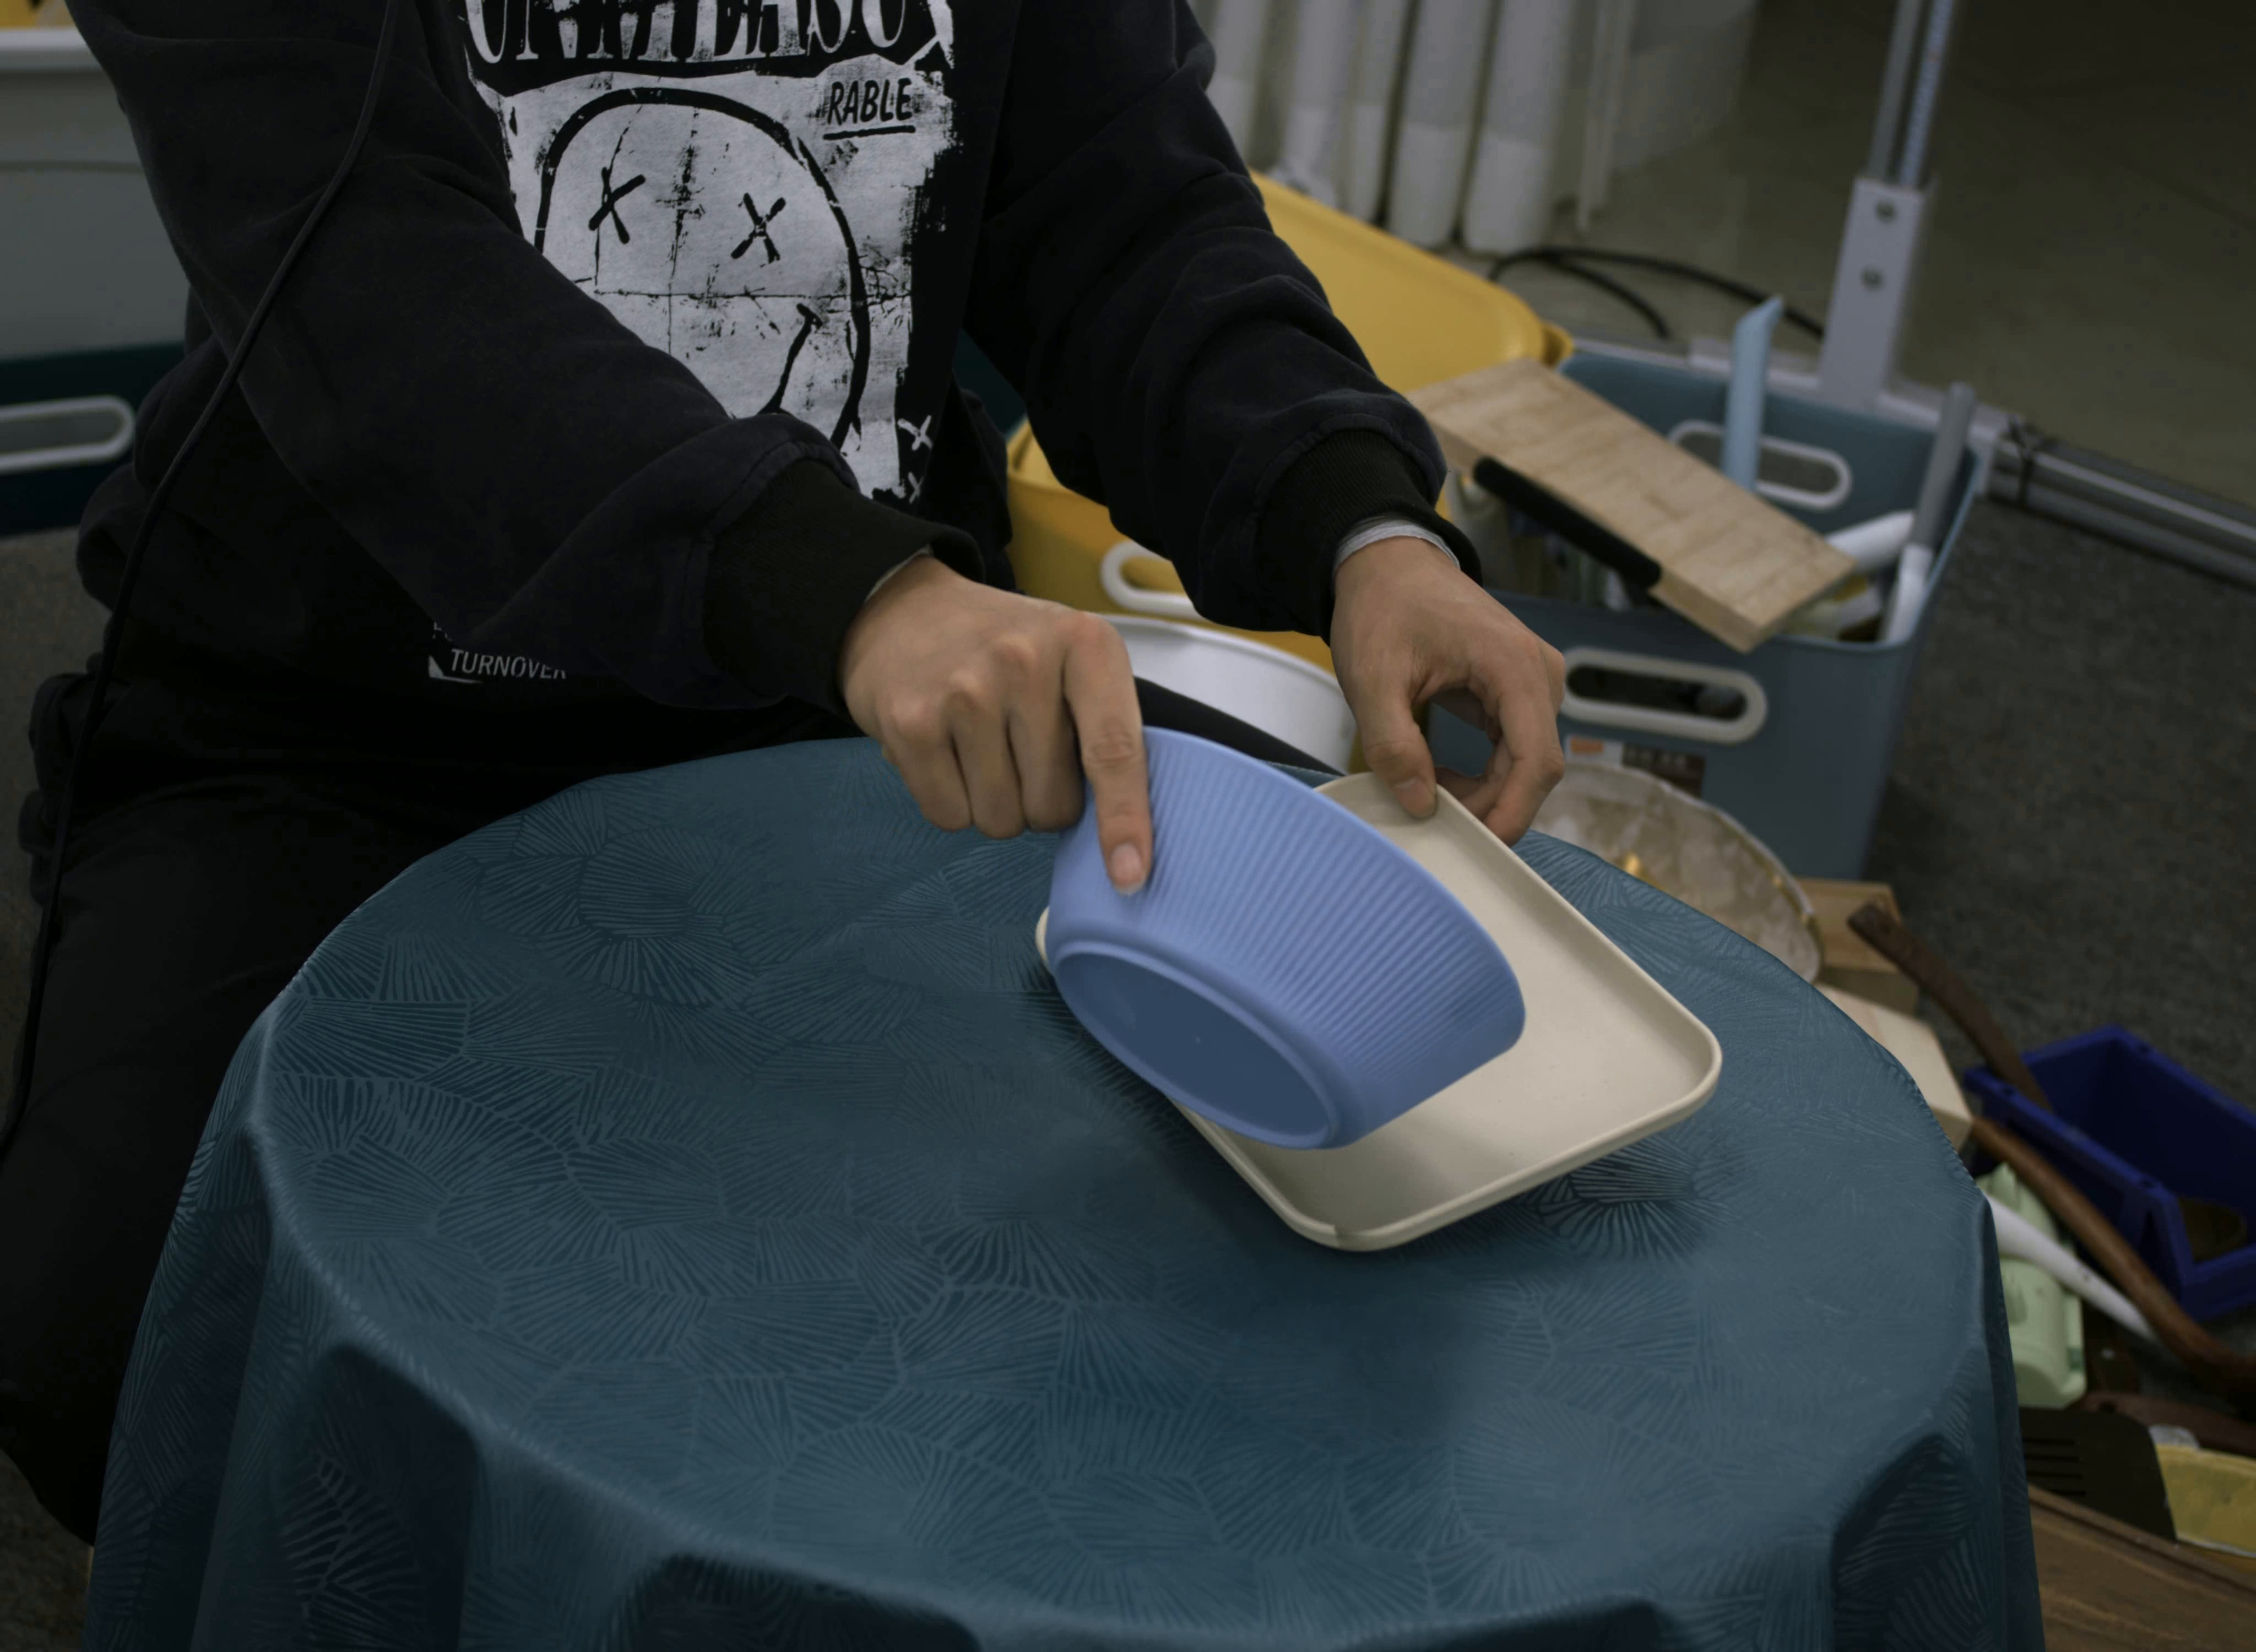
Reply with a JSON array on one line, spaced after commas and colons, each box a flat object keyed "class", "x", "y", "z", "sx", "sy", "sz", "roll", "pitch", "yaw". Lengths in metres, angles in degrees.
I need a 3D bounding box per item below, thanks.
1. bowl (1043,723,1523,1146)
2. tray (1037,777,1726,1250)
[{"class": "bowl", "x": 0.038, "y": 0.046, "z": 1.747, "sx": 0.177, "sy": 0.174, "sz": 0.070, "roll": 23, "pitch": 66, "yaw": 28}, {"class": "tray", "x": 0.087, "y": 0.064, "z": 1.876, "sx": 0.170, "sy": 0.017, "sz": 0.242, "roll": -21, "pitch": 36, "yaw": -19}]
